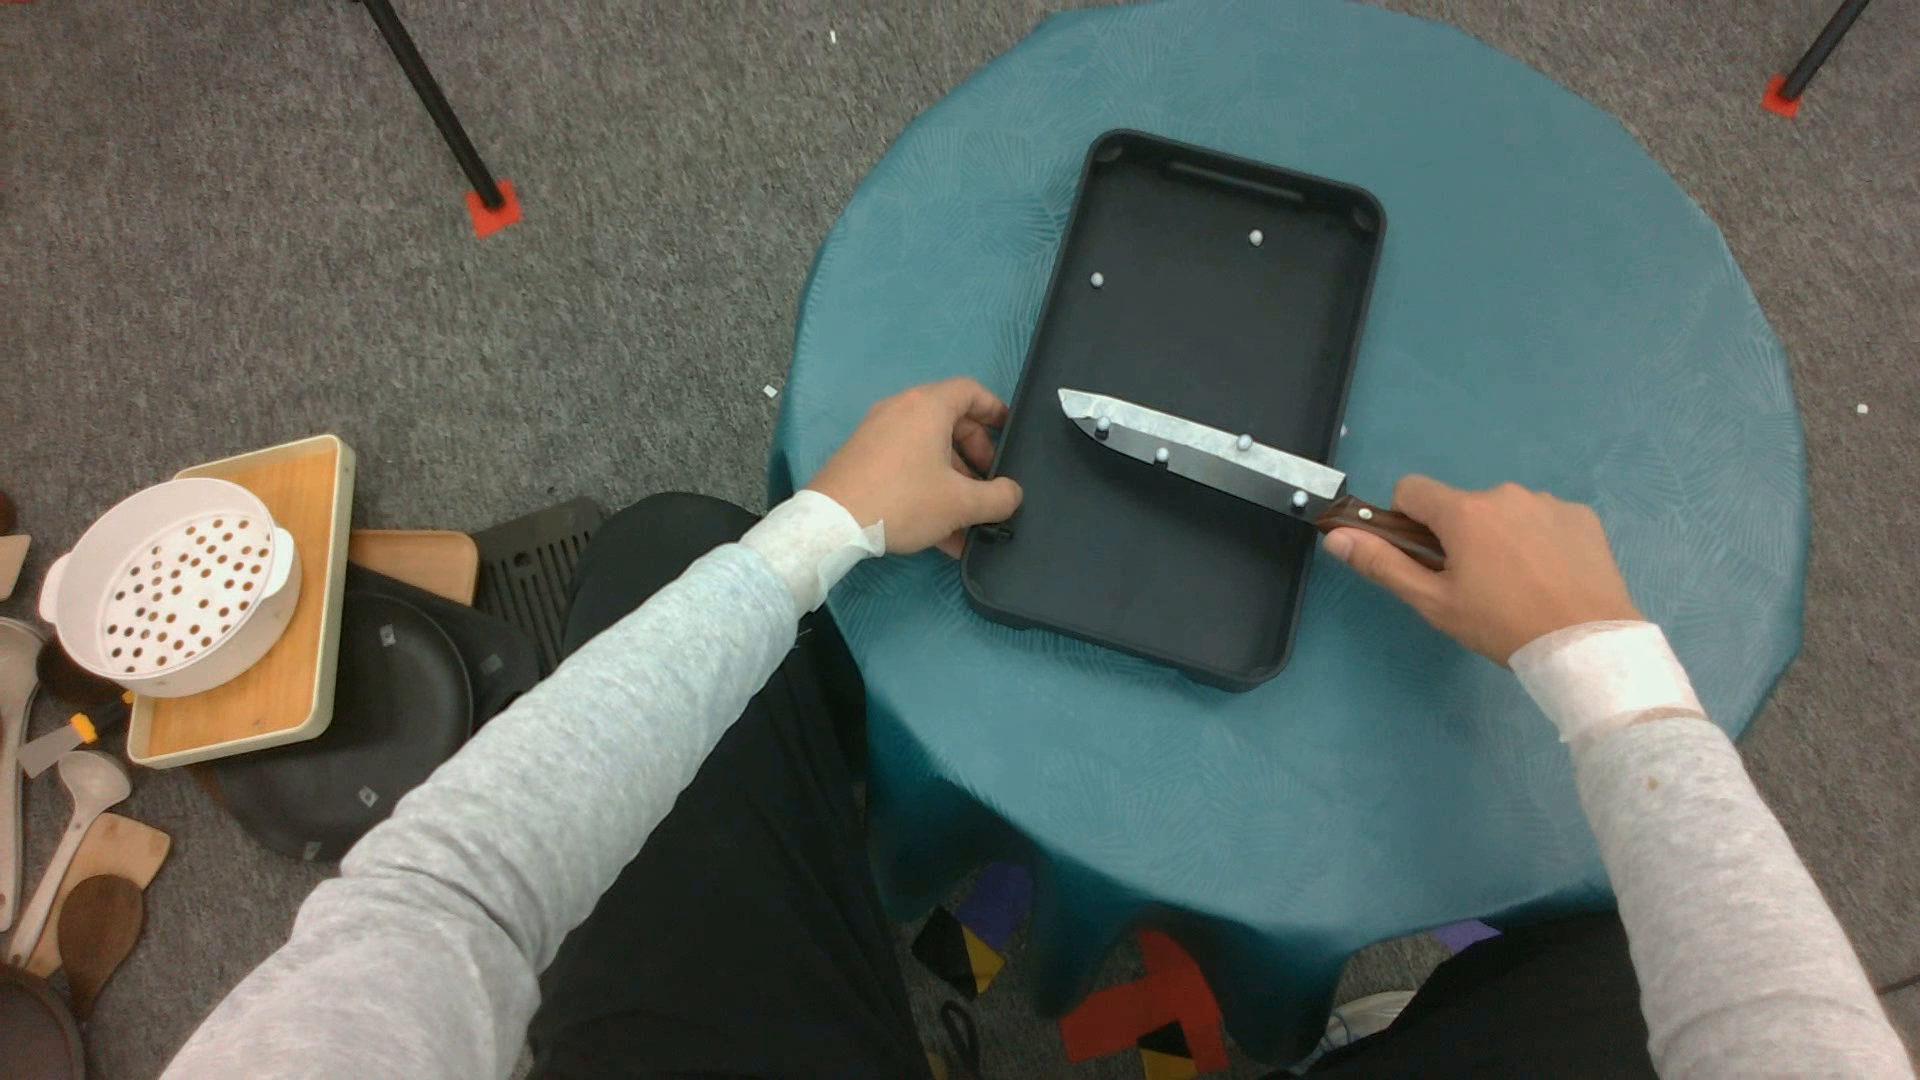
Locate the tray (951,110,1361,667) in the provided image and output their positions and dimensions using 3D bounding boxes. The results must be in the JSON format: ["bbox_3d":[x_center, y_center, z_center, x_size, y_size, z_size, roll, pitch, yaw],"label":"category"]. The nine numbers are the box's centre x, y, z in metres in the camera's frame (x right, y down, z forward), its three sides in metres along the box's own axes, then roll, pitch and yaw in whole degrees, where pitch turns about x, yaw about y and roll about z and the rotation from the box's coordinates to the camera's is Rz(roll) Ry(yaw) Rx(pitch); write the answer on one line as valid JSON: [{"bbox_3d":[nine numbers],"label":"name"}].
[{"bbox_3d":[0.117,-0.095,0.796,0.184,0.037,0.319,14,70,3],"label":"tray"}]

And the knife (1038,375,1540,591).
[{"bbox_3d":[0.170,-0.036,0.746,0.289,0.020,0.050,24,51,17],"label":"knife"}]
